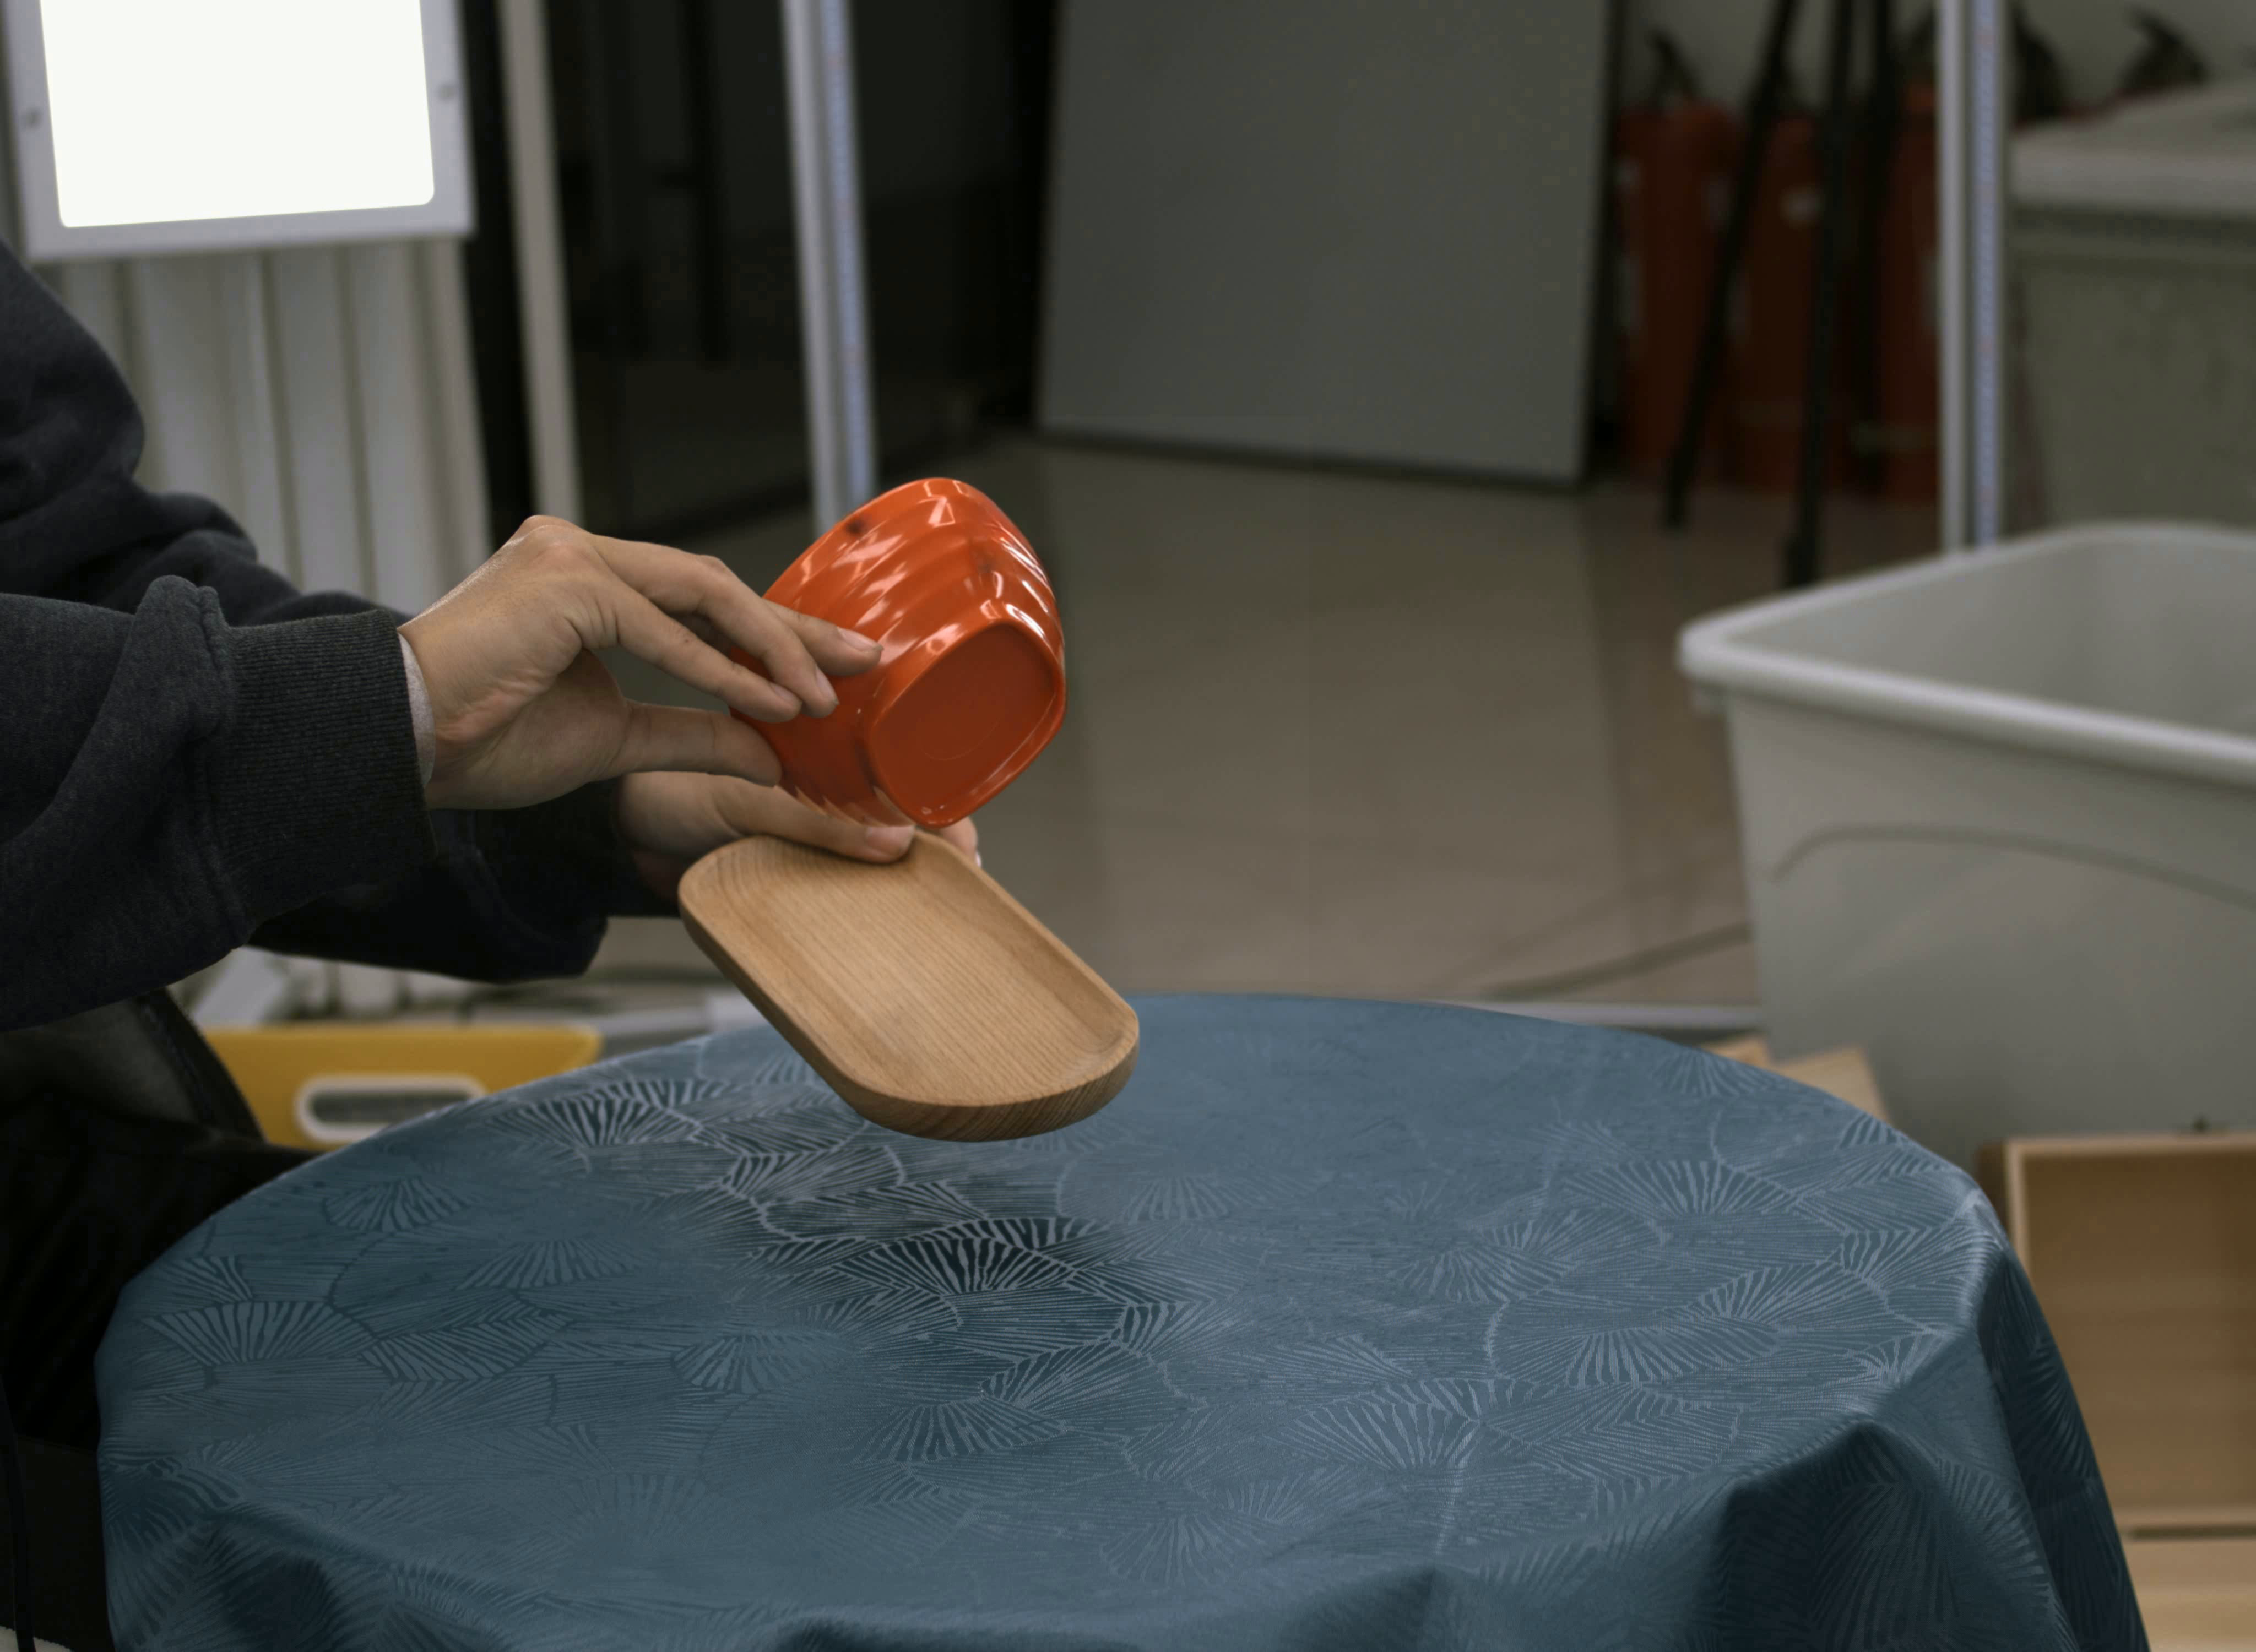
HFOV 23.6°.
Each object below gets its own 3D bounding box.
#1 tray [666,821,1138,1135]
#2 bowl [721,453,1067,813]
[{"bbox_3d":[-0.075,0.047,1.752,0.099,0.020,0.234,-12,24,-23],"label":"tray"},{"bbox_3d":[-0.062,-0.049,1.640,0.116,0.120,0.052,-13,41,-35],"label":"bowl"}]
